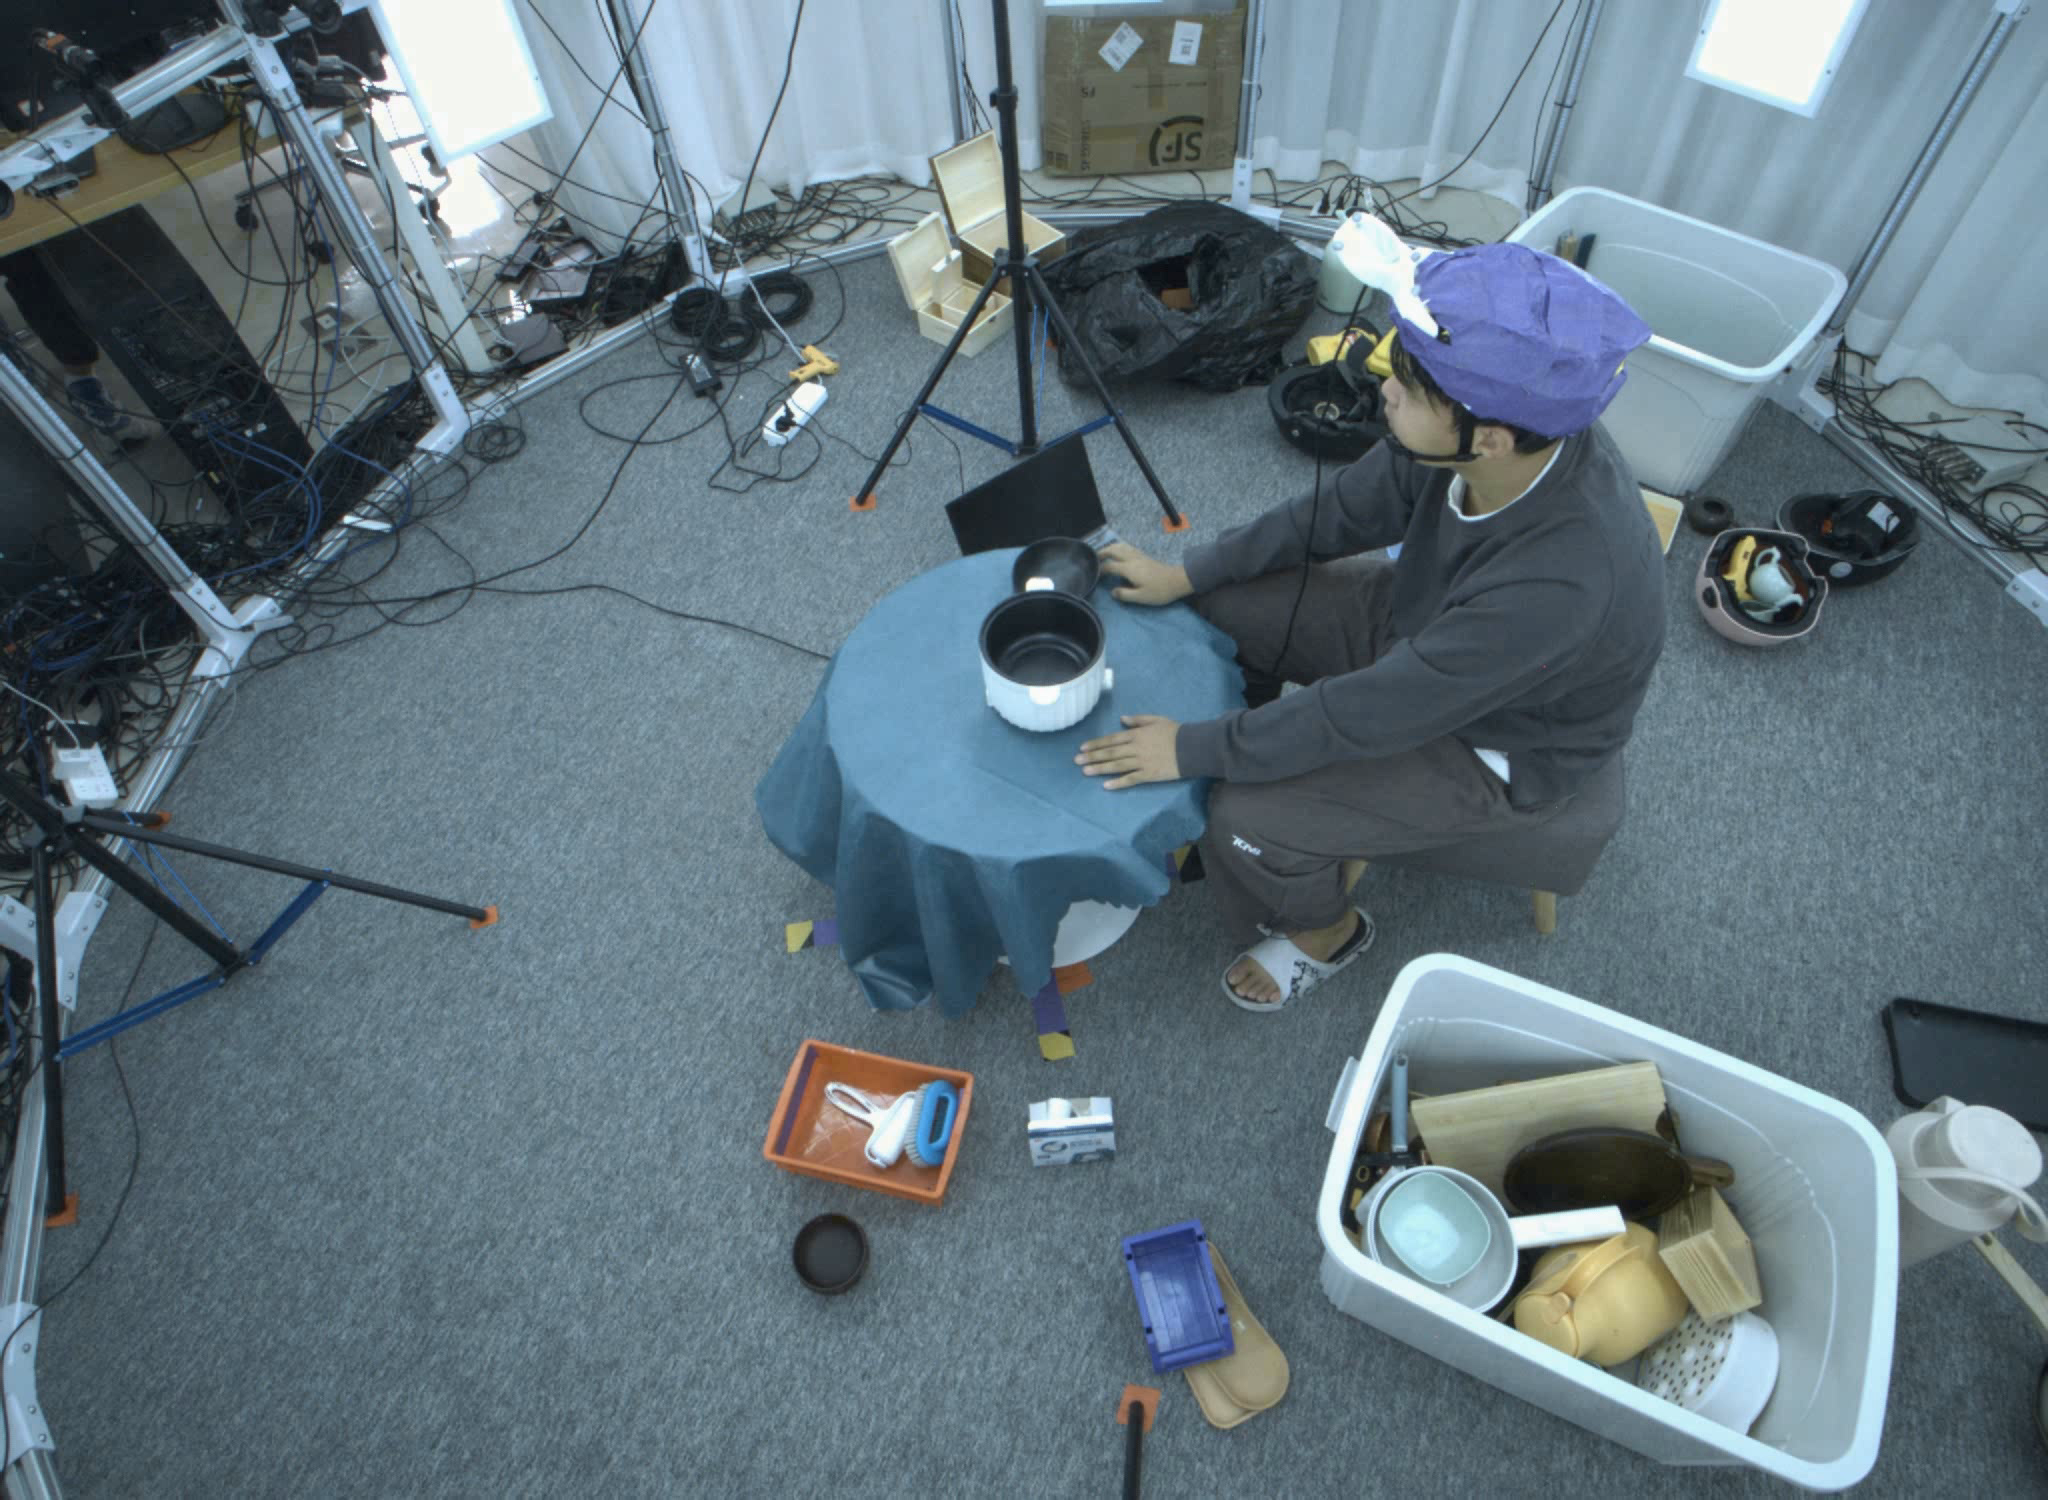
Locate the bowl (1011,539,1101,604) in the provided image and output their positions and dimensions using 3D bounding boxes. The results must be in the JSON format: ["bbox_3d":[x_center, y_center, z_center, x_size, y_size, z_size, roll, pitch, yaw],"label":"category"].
[{"bbox_3d":[0.051,-0.264,1.933,0.136,0.067,0.170,14,55,11],"label":"bowl"}]

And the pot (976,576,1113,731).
[{"bbox_3d":[0.032,-0.125,1.790,0.190,0.144,0.237,-5,56,2],"label":"pot"}]
